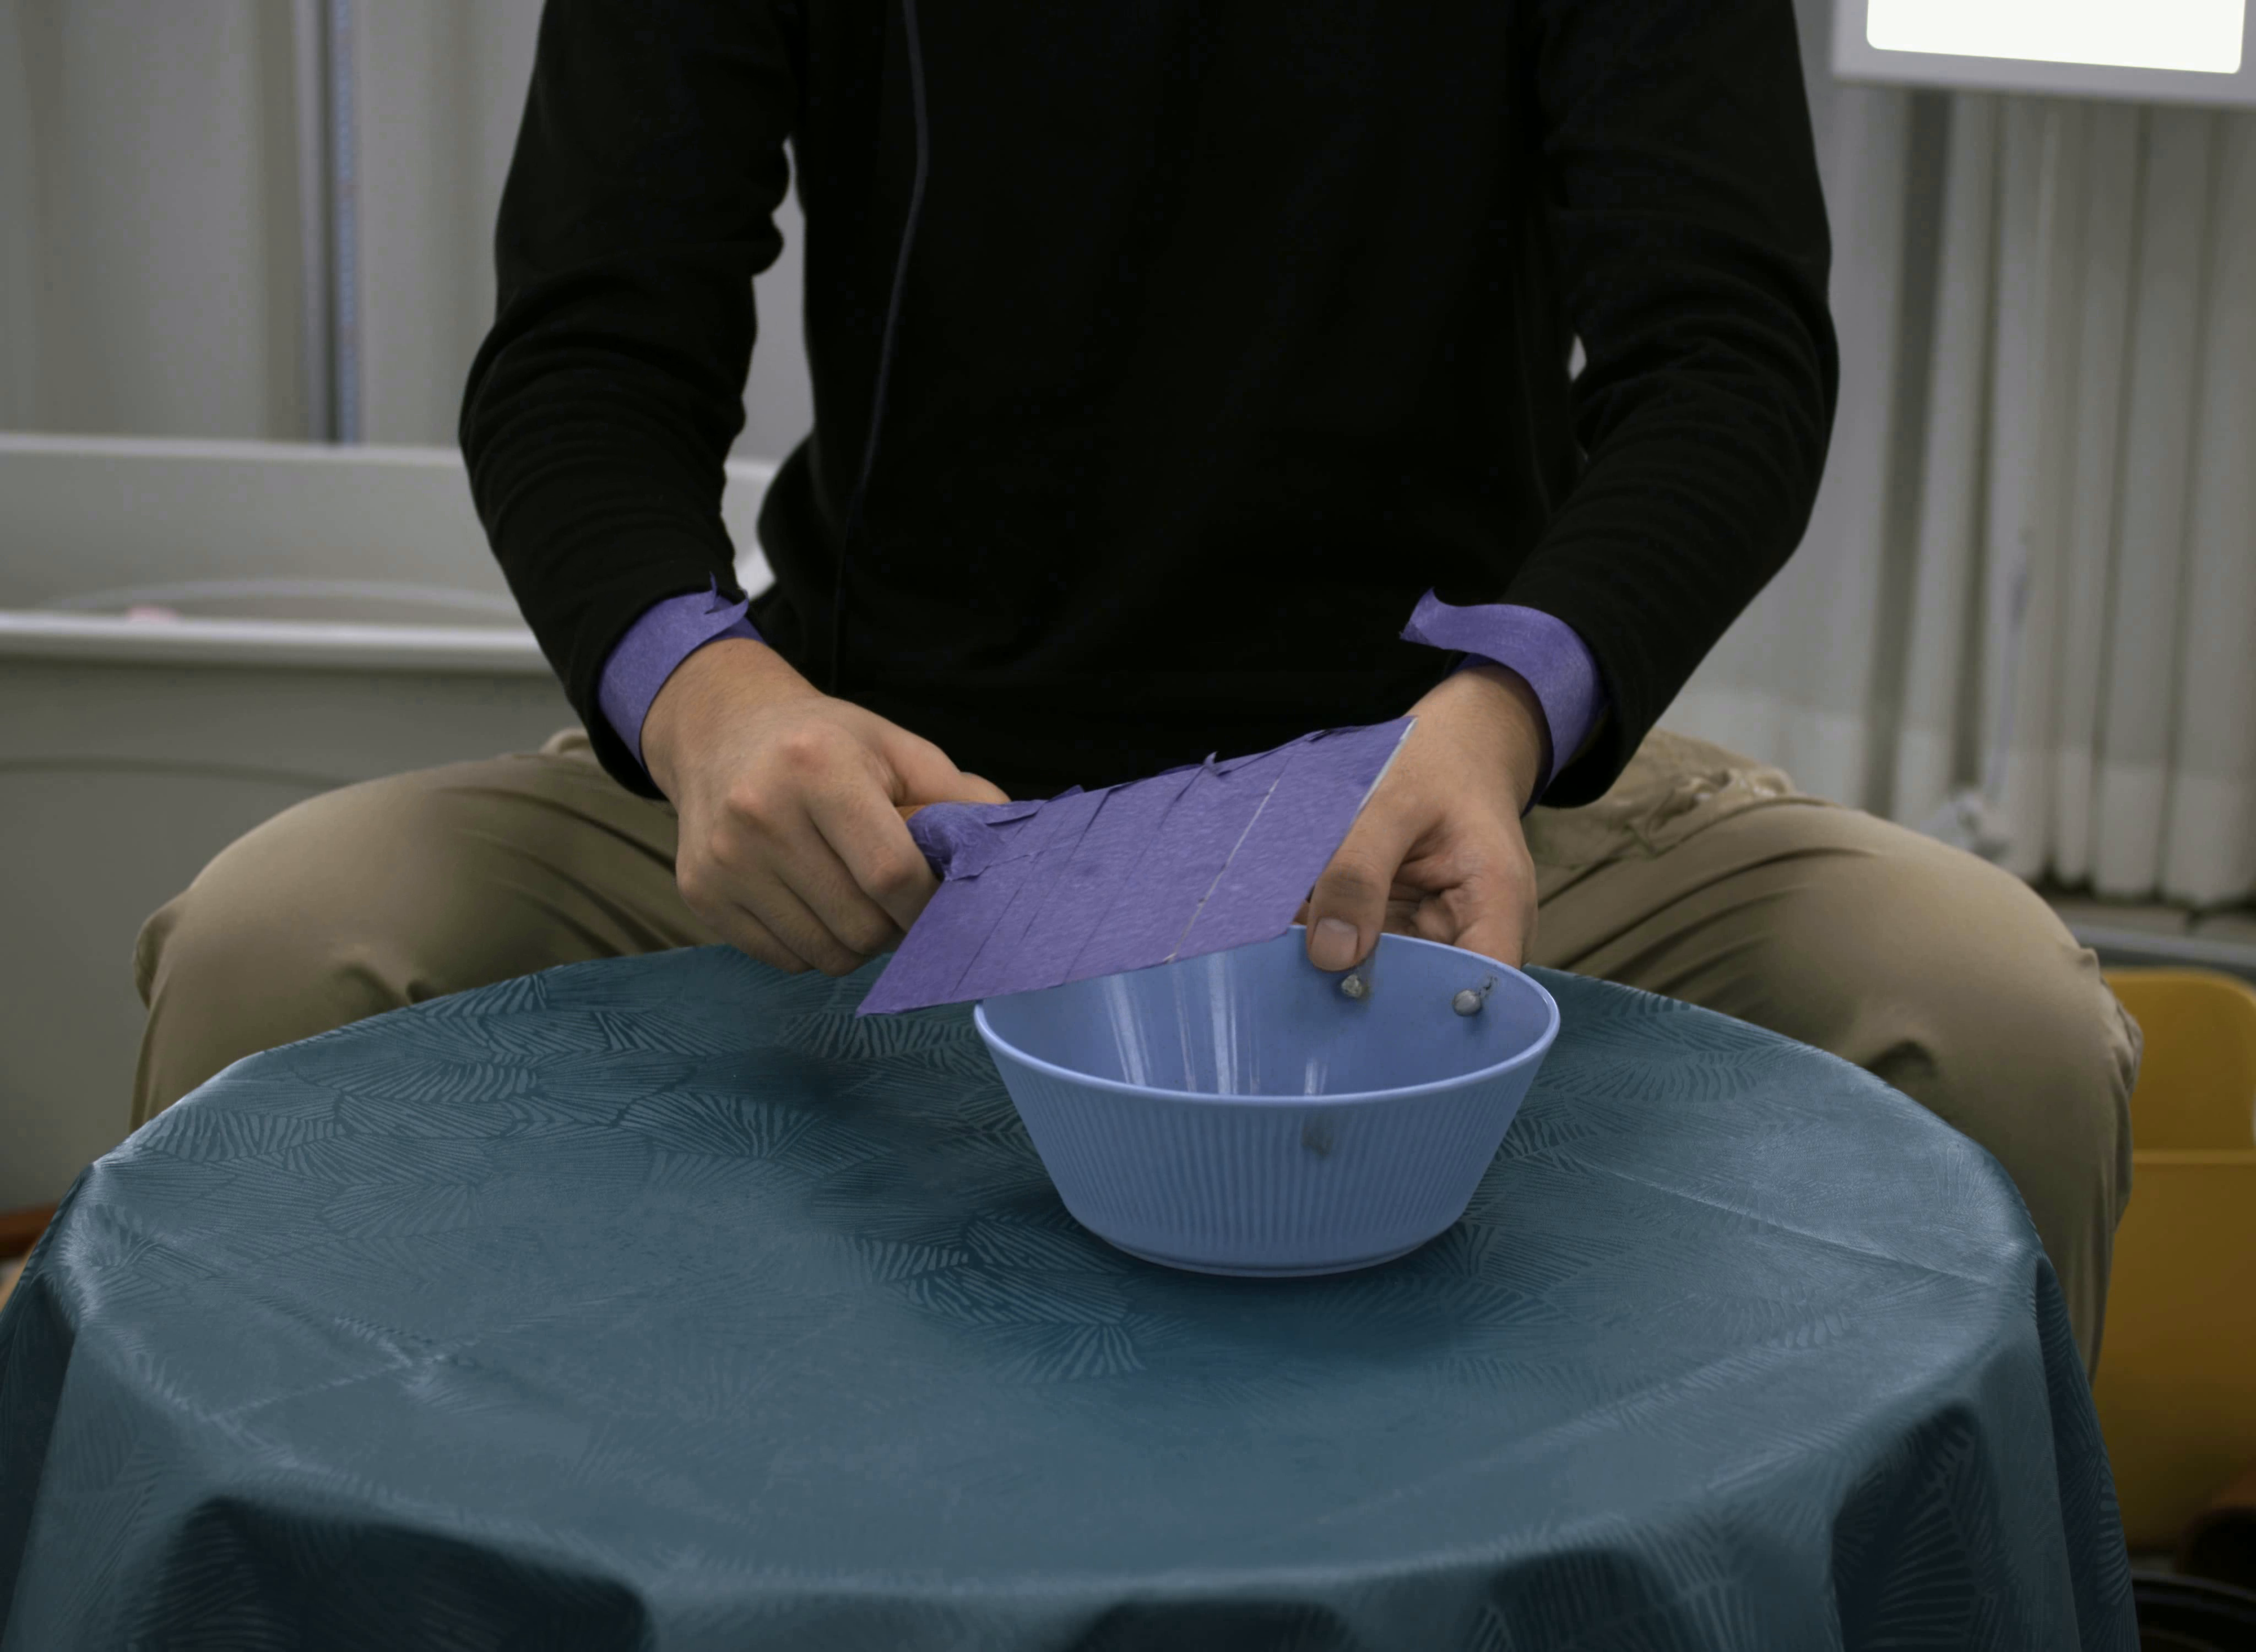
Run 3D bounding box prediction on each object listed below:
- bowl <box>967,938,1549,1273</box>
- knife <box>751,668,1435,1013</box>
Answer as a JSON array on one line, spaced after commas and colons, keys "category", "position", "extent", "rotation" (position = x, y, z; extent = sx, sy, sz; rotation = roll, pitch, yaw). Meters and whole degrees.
[{"category": "bowl", "position": [0.038, 0.086, 1.587], "extent": [0.175, 0.071, 0.175], "rotation": [2, 14, 0]}, {"category": "knife", "position": [-0.032, 0.015, 1.614], "extent": [0.313, 0.032, 0.103], "rotation": [-16, 33, 50]}]
